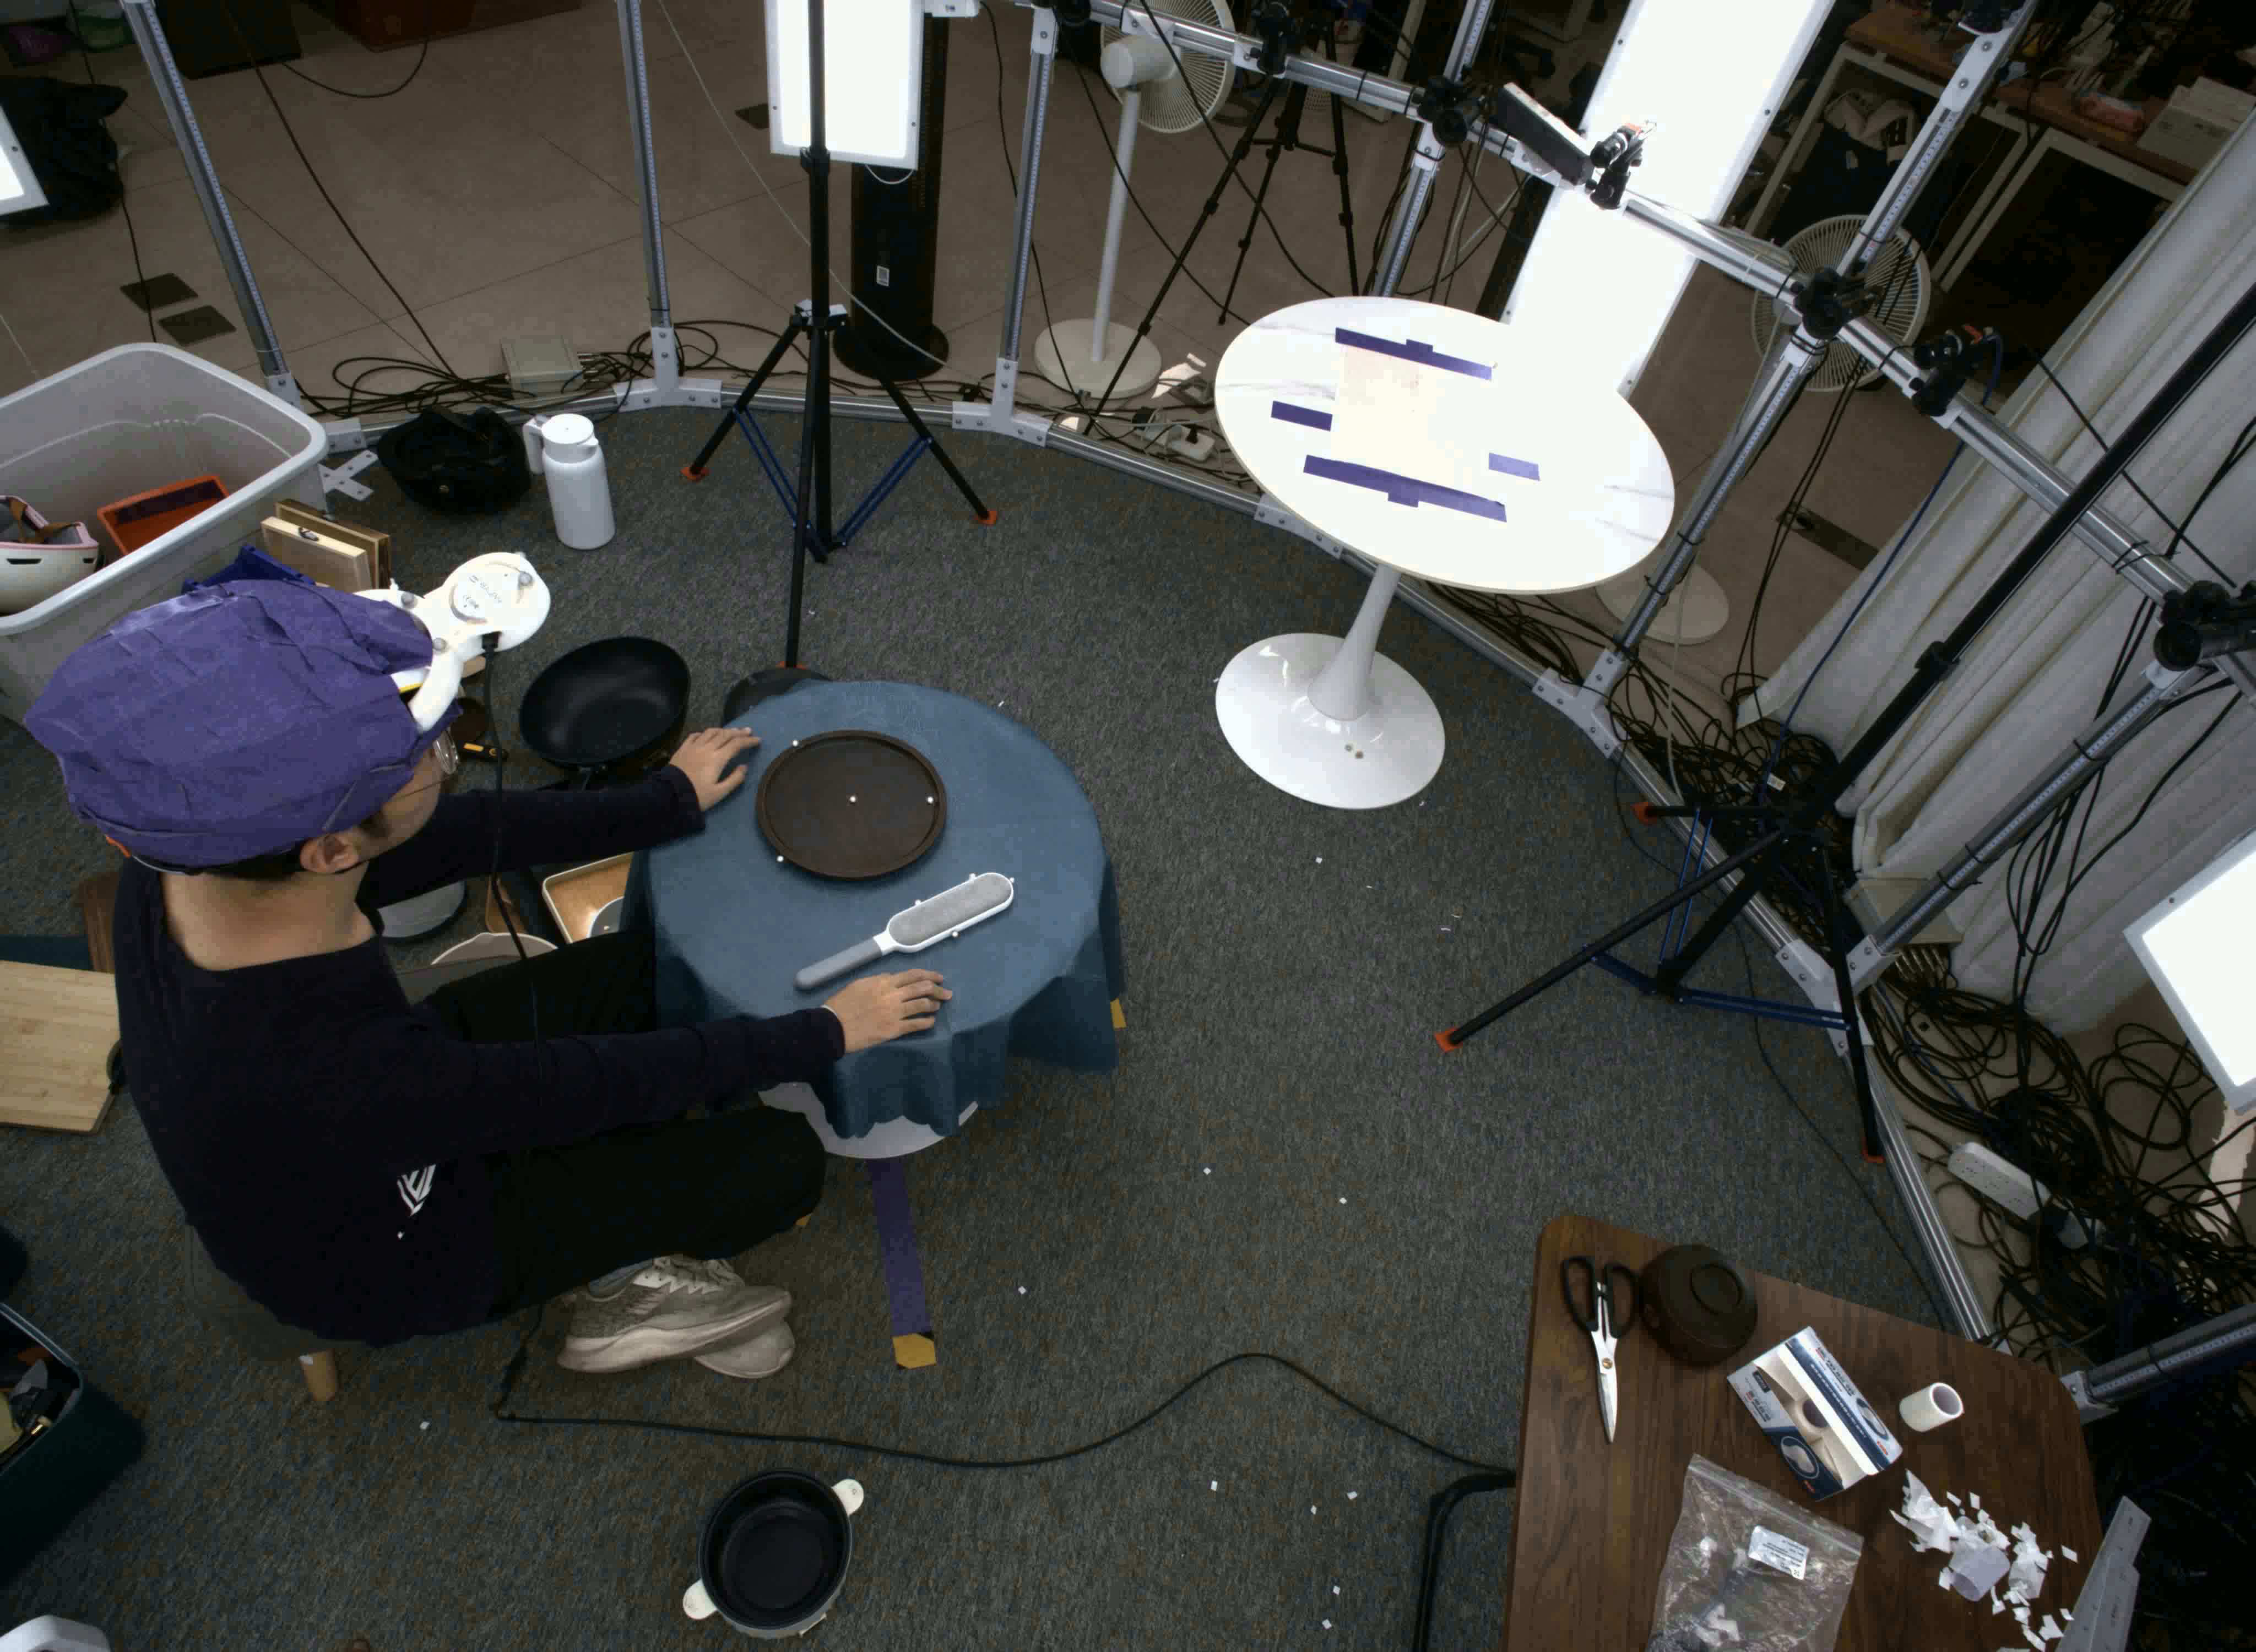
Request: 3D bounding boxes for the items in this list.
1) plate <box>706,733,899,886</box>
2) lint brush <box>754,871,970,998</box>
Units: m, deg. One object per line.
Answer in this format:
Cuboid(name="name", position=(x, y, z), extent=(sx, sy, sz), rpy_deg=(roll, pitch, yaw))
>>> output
Cuboid(name="plate", position=(-0.434, -0.024, 1.734), extent=(0.254, 0.029, 0.250), rpy_deg=(8, 51, -8))
Cuboid(name="lint brush", position=(-0.332, 0.134, 1.642), extent=(0.310, 0.021, 0.059), rpy_deg=(-28, 70, -30))
